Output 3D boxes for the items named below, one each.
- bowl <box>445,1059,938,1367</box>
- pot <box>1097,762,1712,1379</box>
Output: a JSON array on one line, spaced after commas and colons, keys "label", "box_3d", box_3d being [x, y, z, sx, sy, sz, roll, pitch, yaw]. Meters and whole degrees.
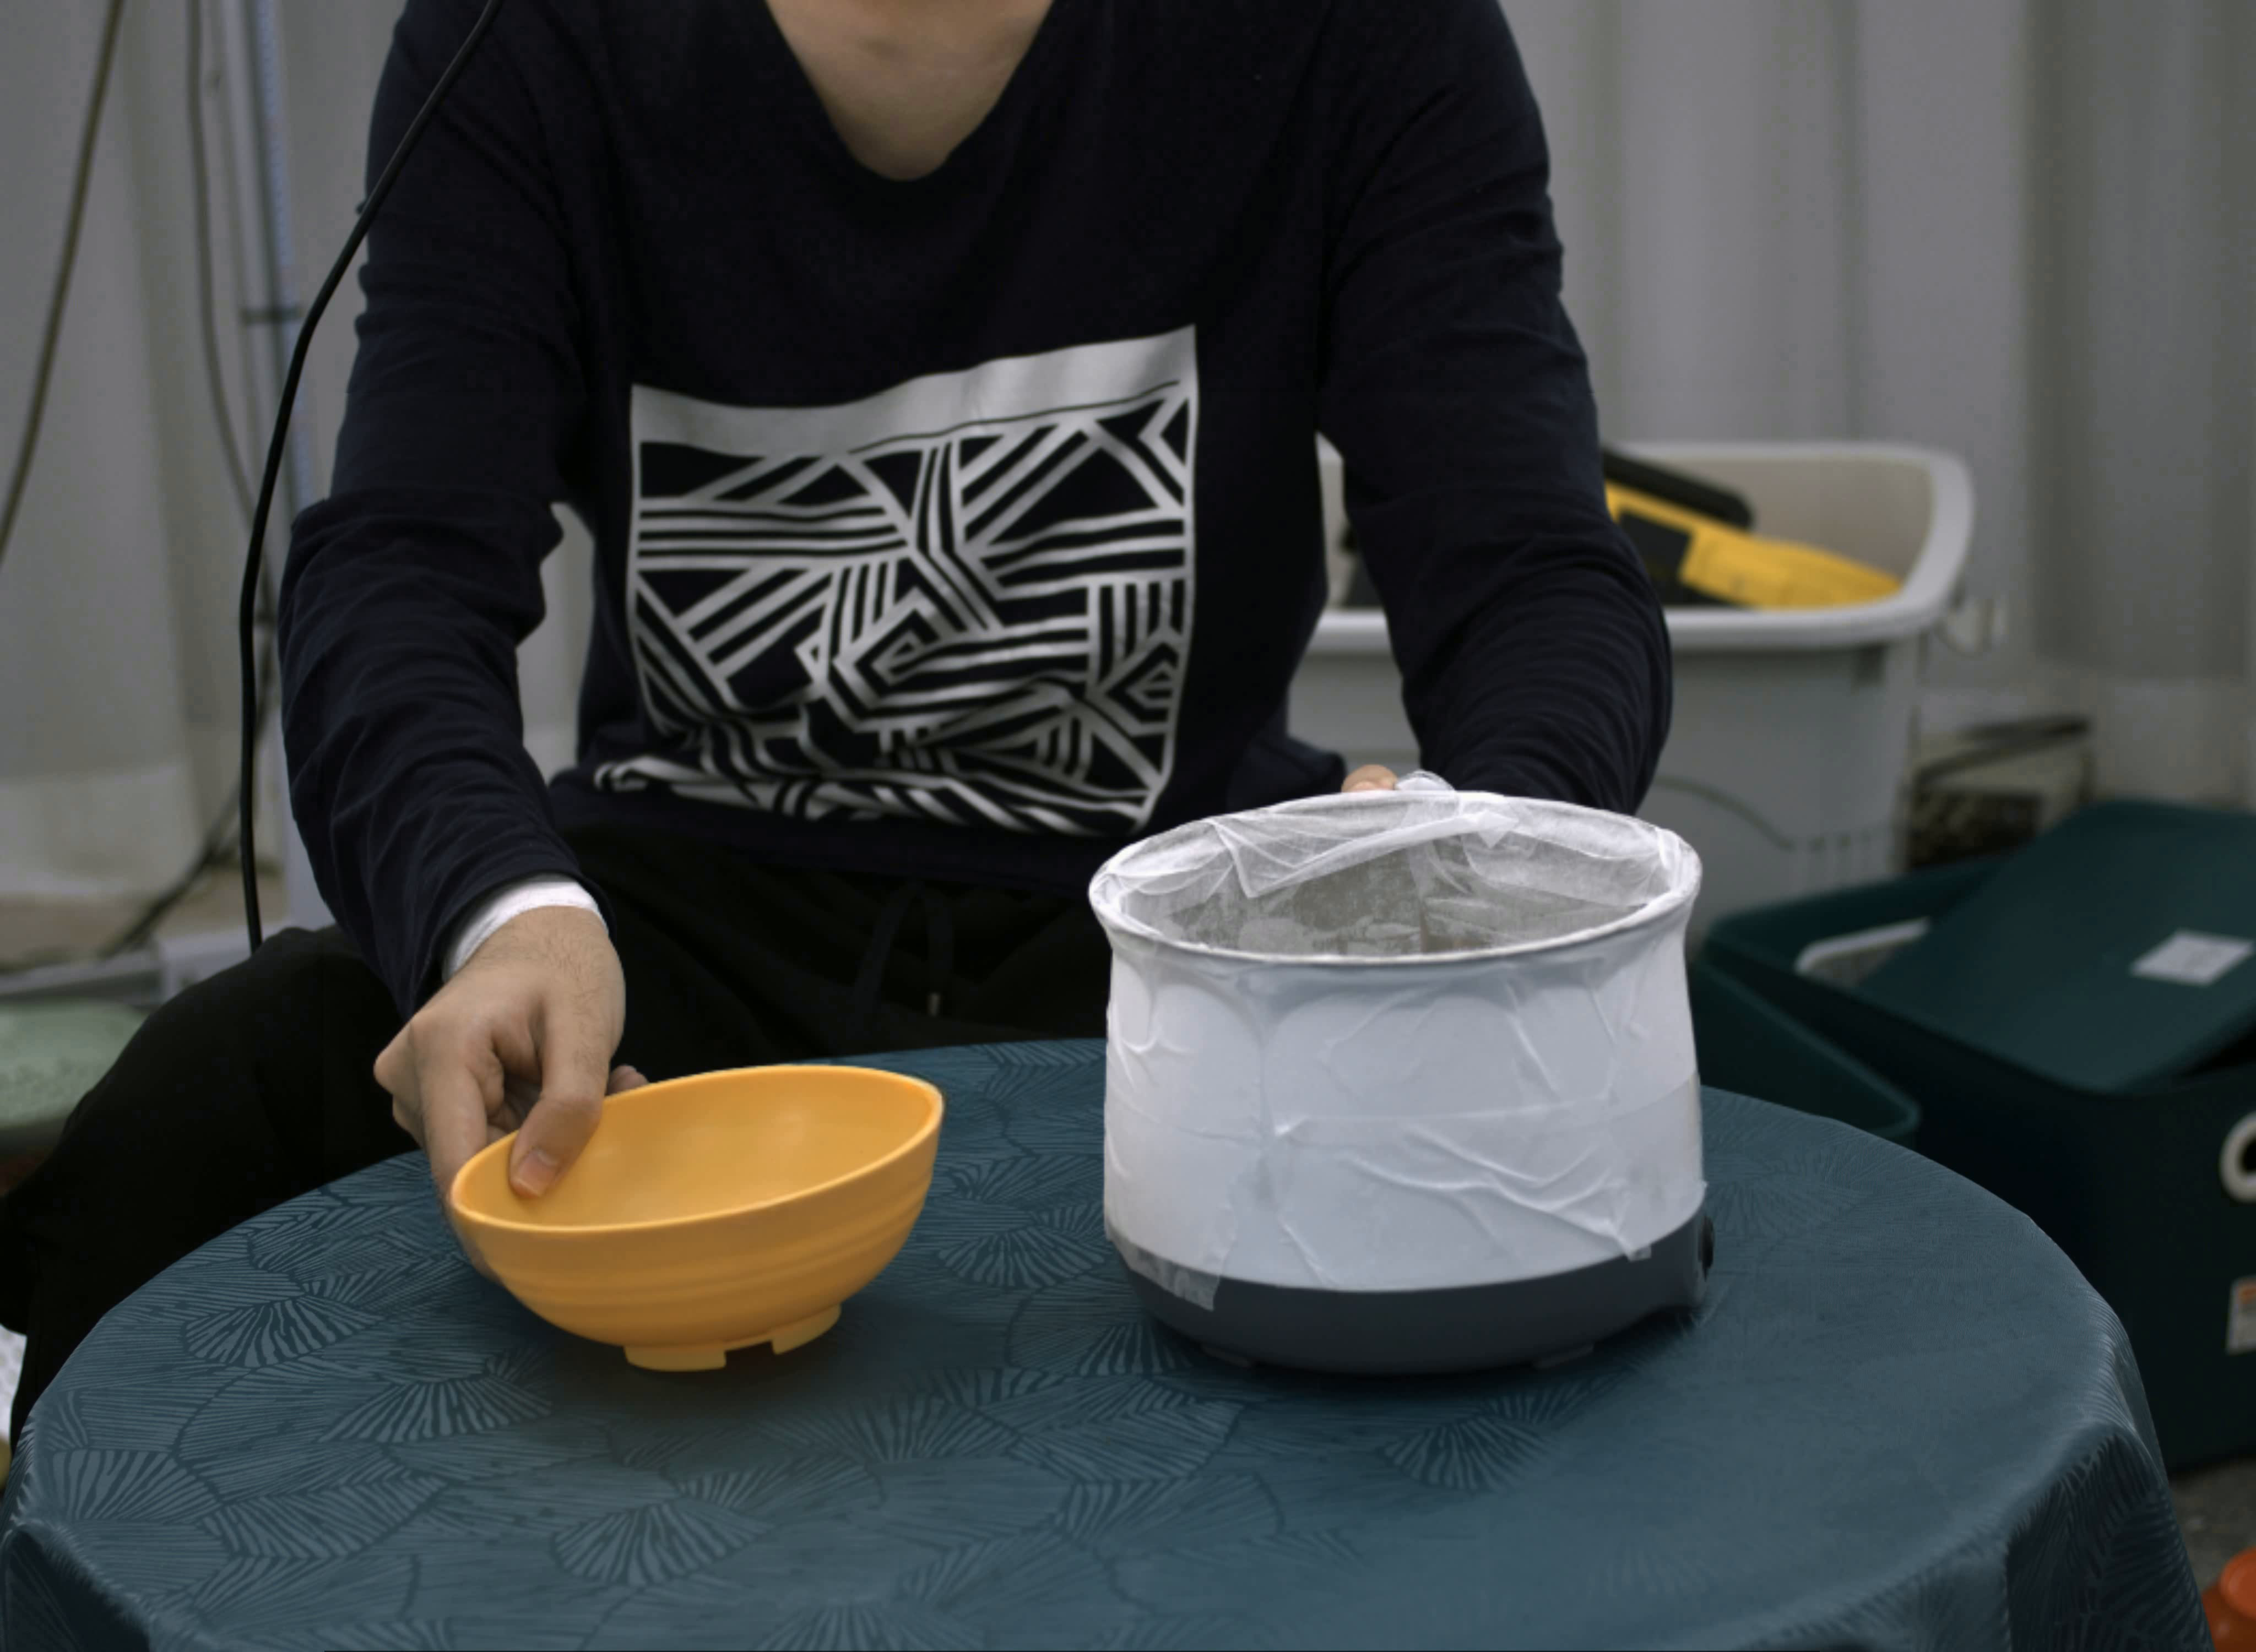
[{"label": "bowl", "box_3d": [-0.123, 0.118, 1.594, 0.145, 0.060, 0.146, -8, 15, 2]}, {"label": "pot", "box_3d": [0.083, 0.066, 1.615, 0.178, 0.136, 0.235, 1, 16, 6]}]
